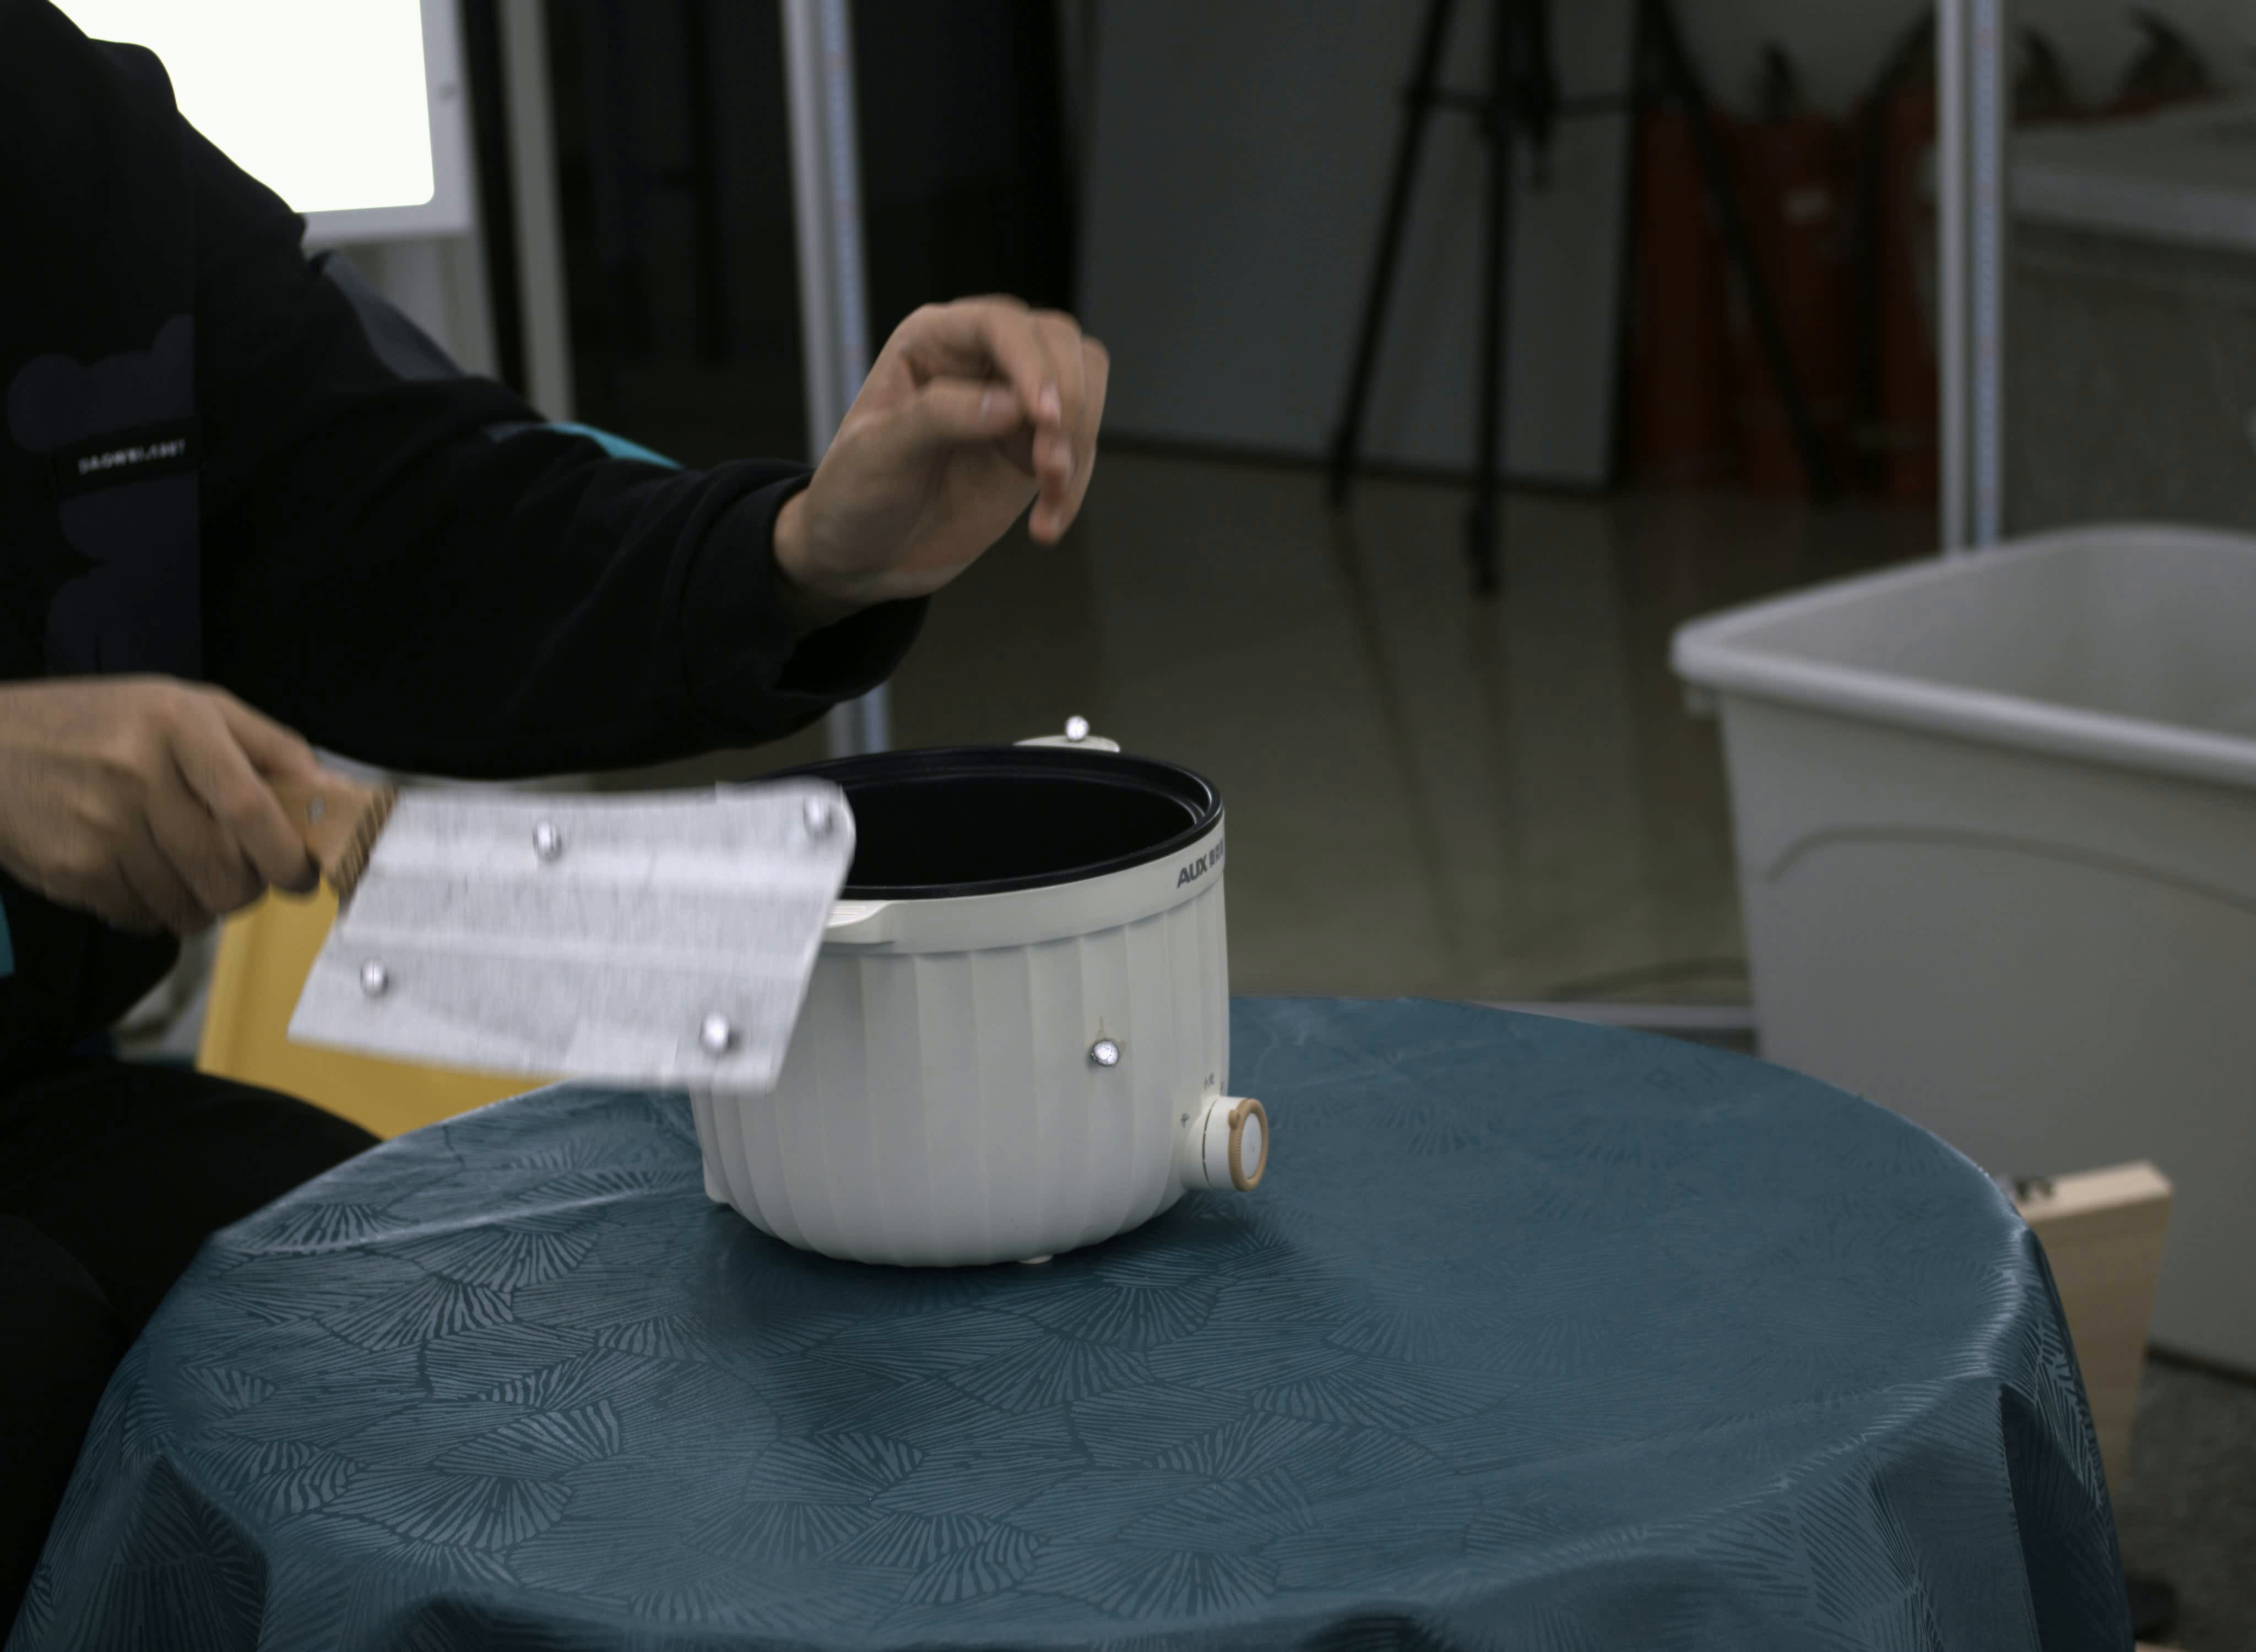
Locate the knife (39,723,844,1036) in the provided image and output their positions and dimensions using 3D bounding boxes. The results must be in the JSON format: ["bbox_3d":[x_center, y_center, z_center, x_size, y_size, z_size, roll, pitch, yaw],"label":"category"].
[{"bbox_3d":[-0.209,0.011,1.614,0.317,0.114,0.021,5,-27,37],"label":"knife"}]

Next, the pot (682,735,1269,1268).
[{"bbox_3d":[-0.051,0.059,1.744,0.190,0.144,0.238,-2,14,23],"label":"pot"}]
